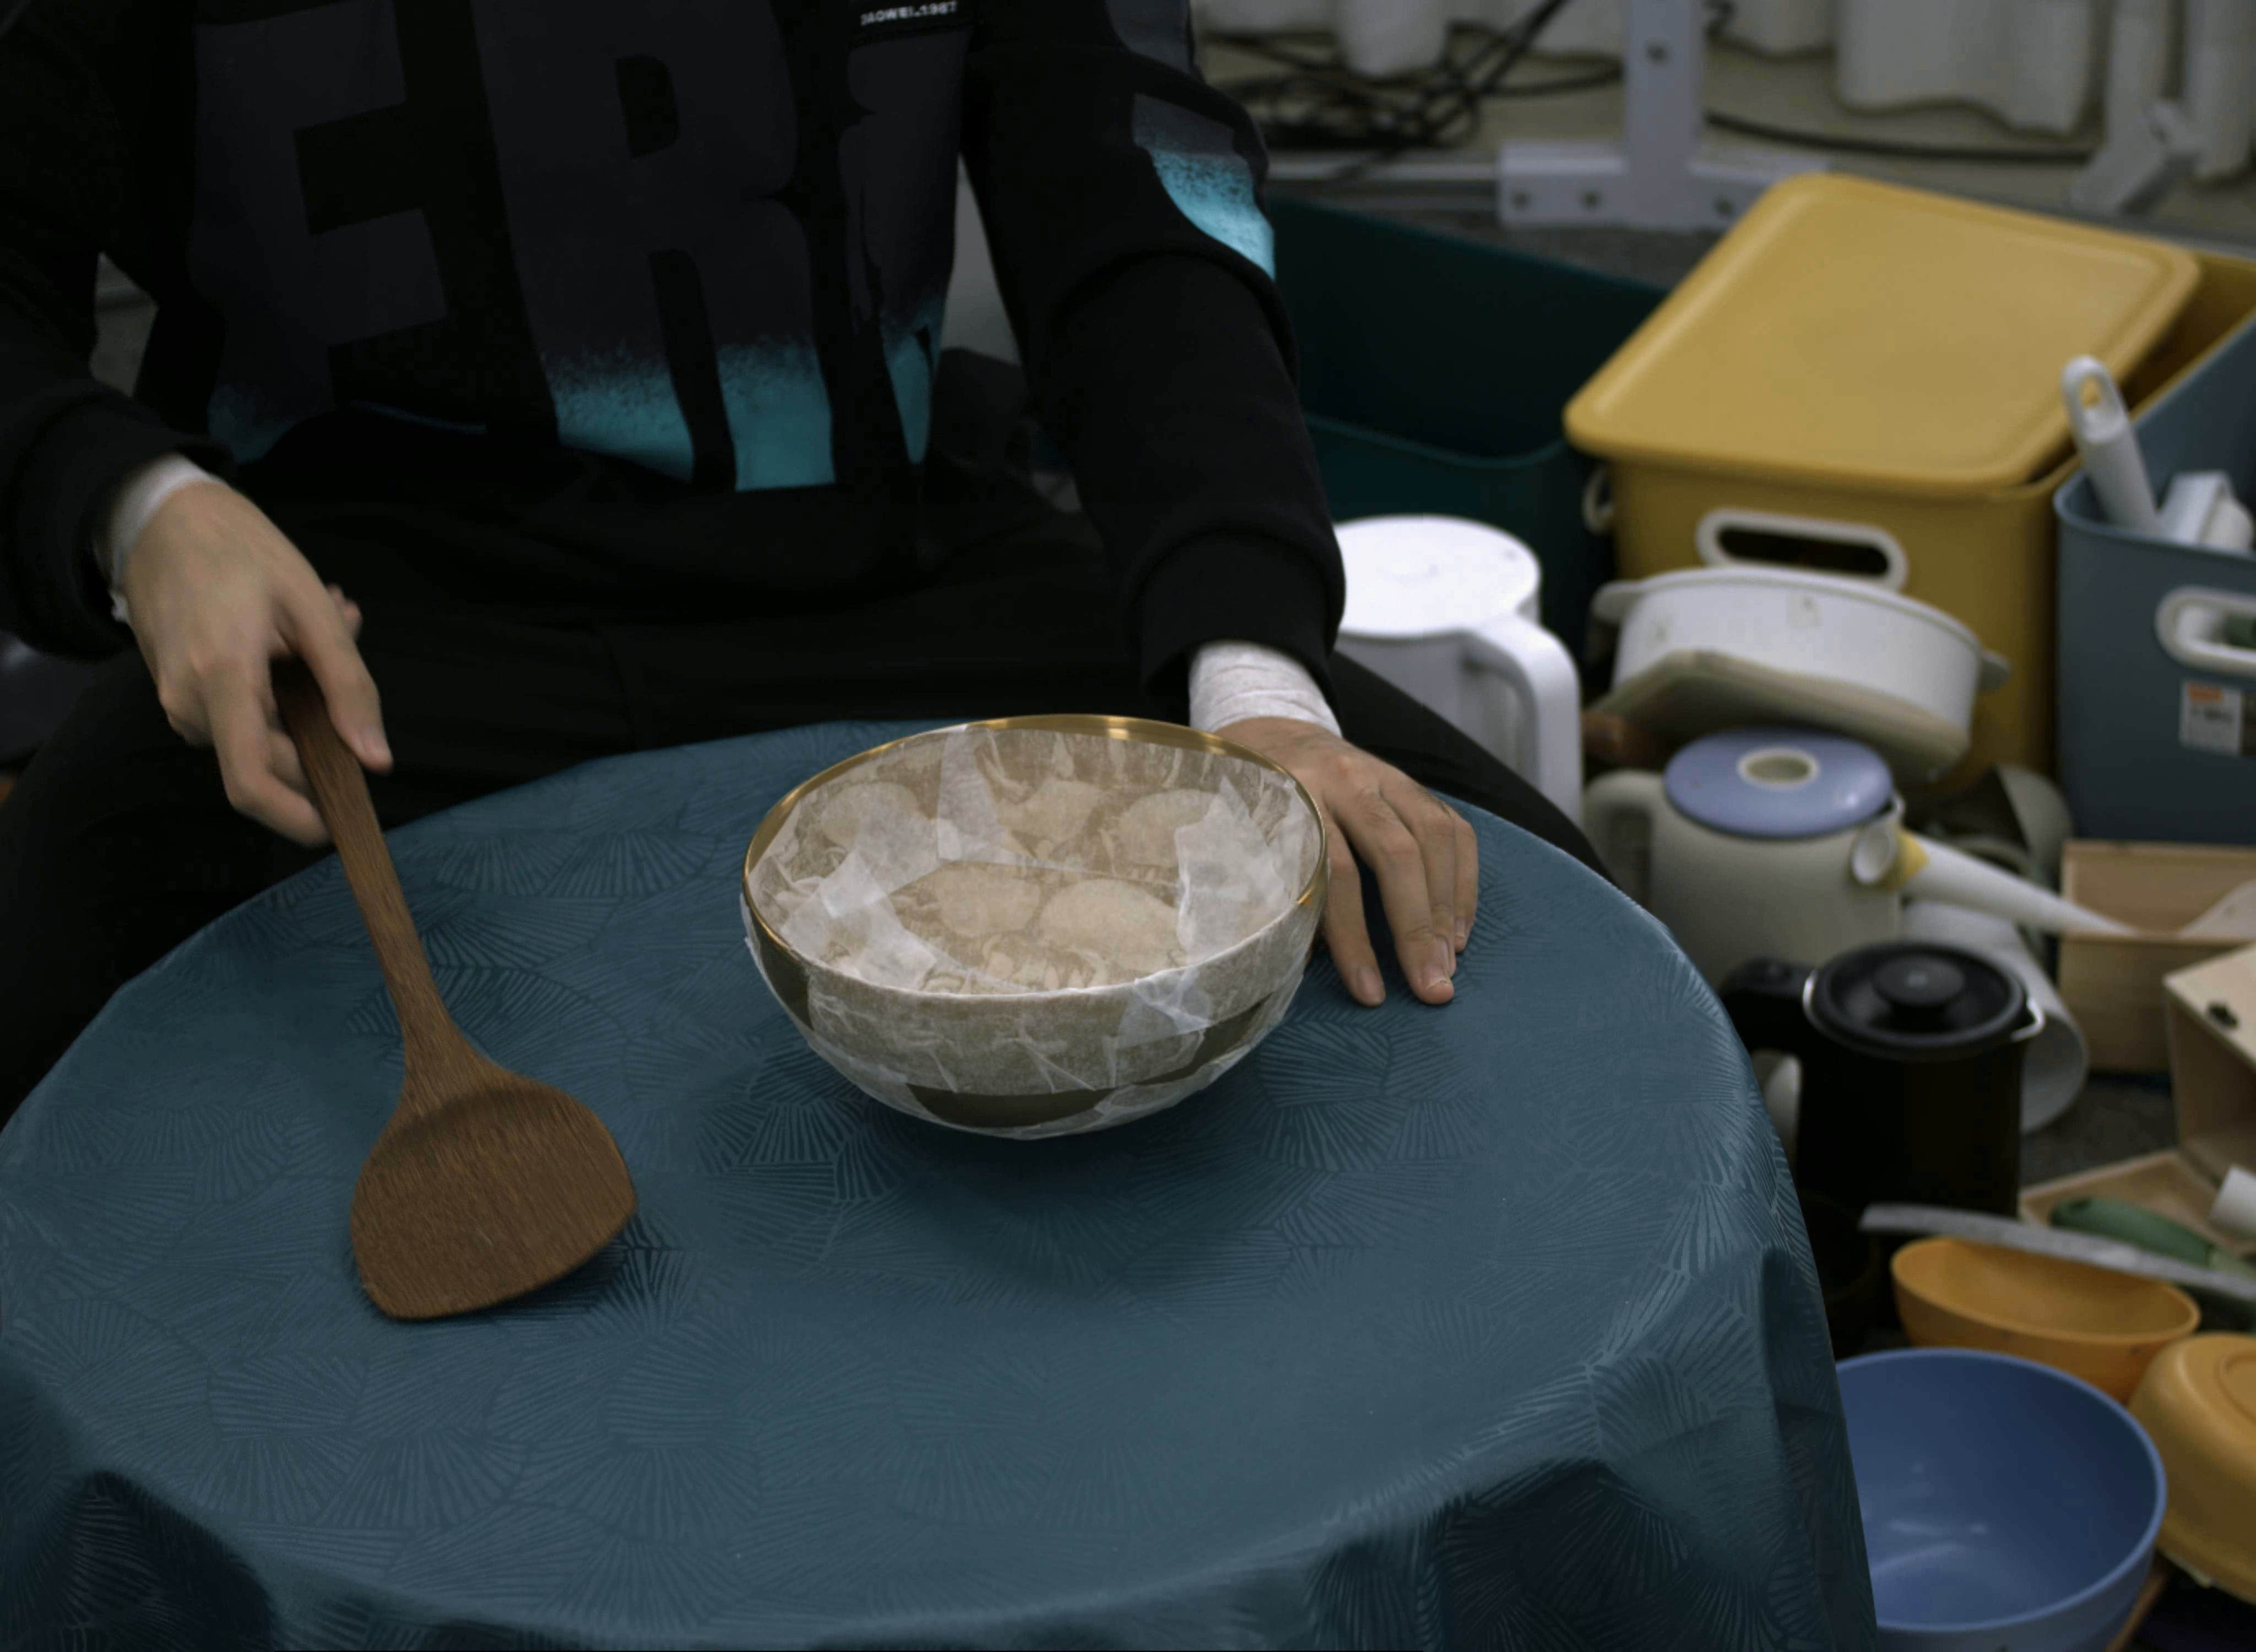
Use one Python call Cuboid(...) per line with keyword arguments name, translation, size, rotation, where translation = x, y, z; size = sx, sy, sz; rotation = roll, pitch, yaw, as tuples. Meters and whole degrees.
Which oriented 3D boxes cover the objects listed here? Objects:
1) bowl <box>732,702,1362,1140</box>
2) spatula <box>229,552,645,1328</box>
Cuboid(name="bowl", translation=(-0.026, 0.045, 1.911), size=(0.213, 0.093, 0.218), rotation=(-4, 27, 2))
Cuboid(name="spatula", translation=(-0.257, 0.028, 1.940), size=(0.096, 0.015, 0.391), rotation=(-20, 47, -7))
